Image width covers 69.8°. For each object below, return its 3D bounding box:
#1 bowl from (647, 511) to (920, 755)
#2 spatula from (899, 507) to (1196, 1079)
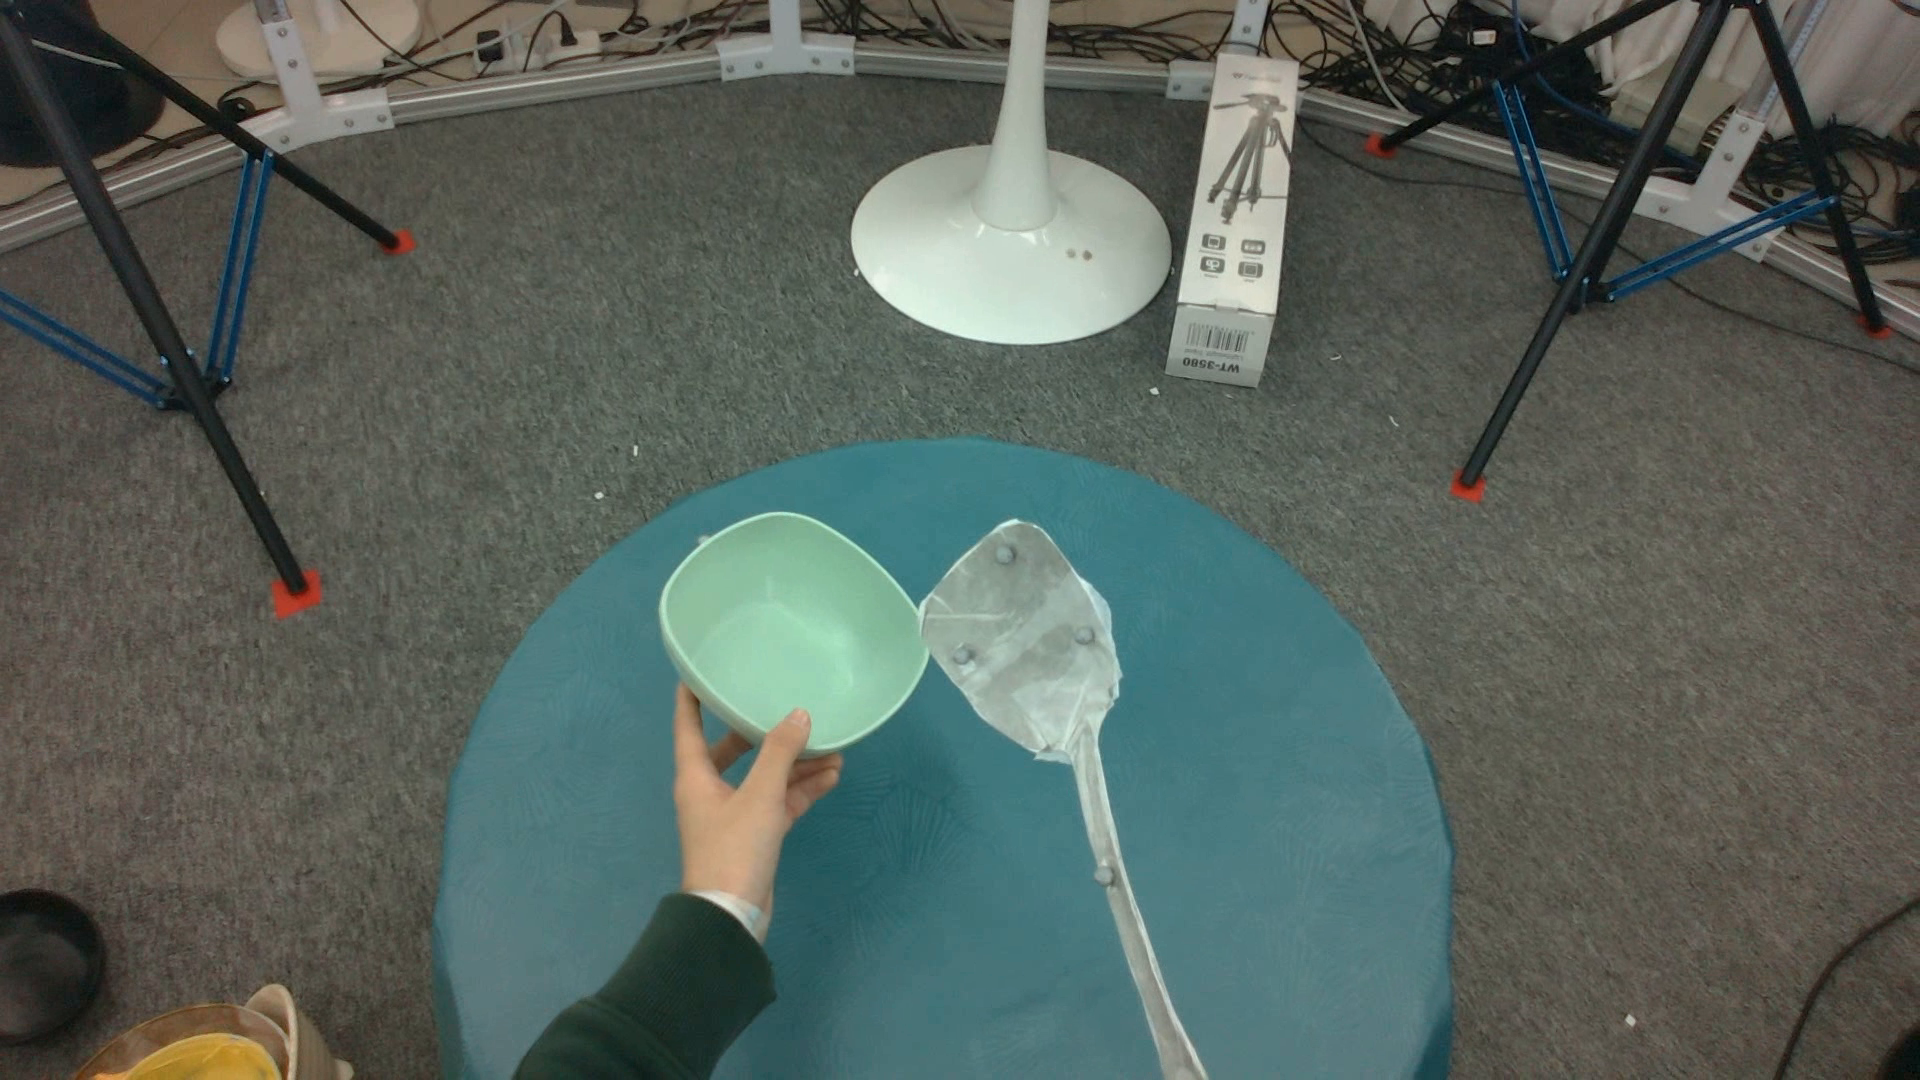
[{"bbox_3d":[-0.102,0.060,0.755,0.151,0.058,0.152,16,46,-17],"label":"bowl"},{"bbox_3d":[0.061,0.155,0.568,0.045,0.098,0.366,9,52,-42],"label":"spatula"}]
